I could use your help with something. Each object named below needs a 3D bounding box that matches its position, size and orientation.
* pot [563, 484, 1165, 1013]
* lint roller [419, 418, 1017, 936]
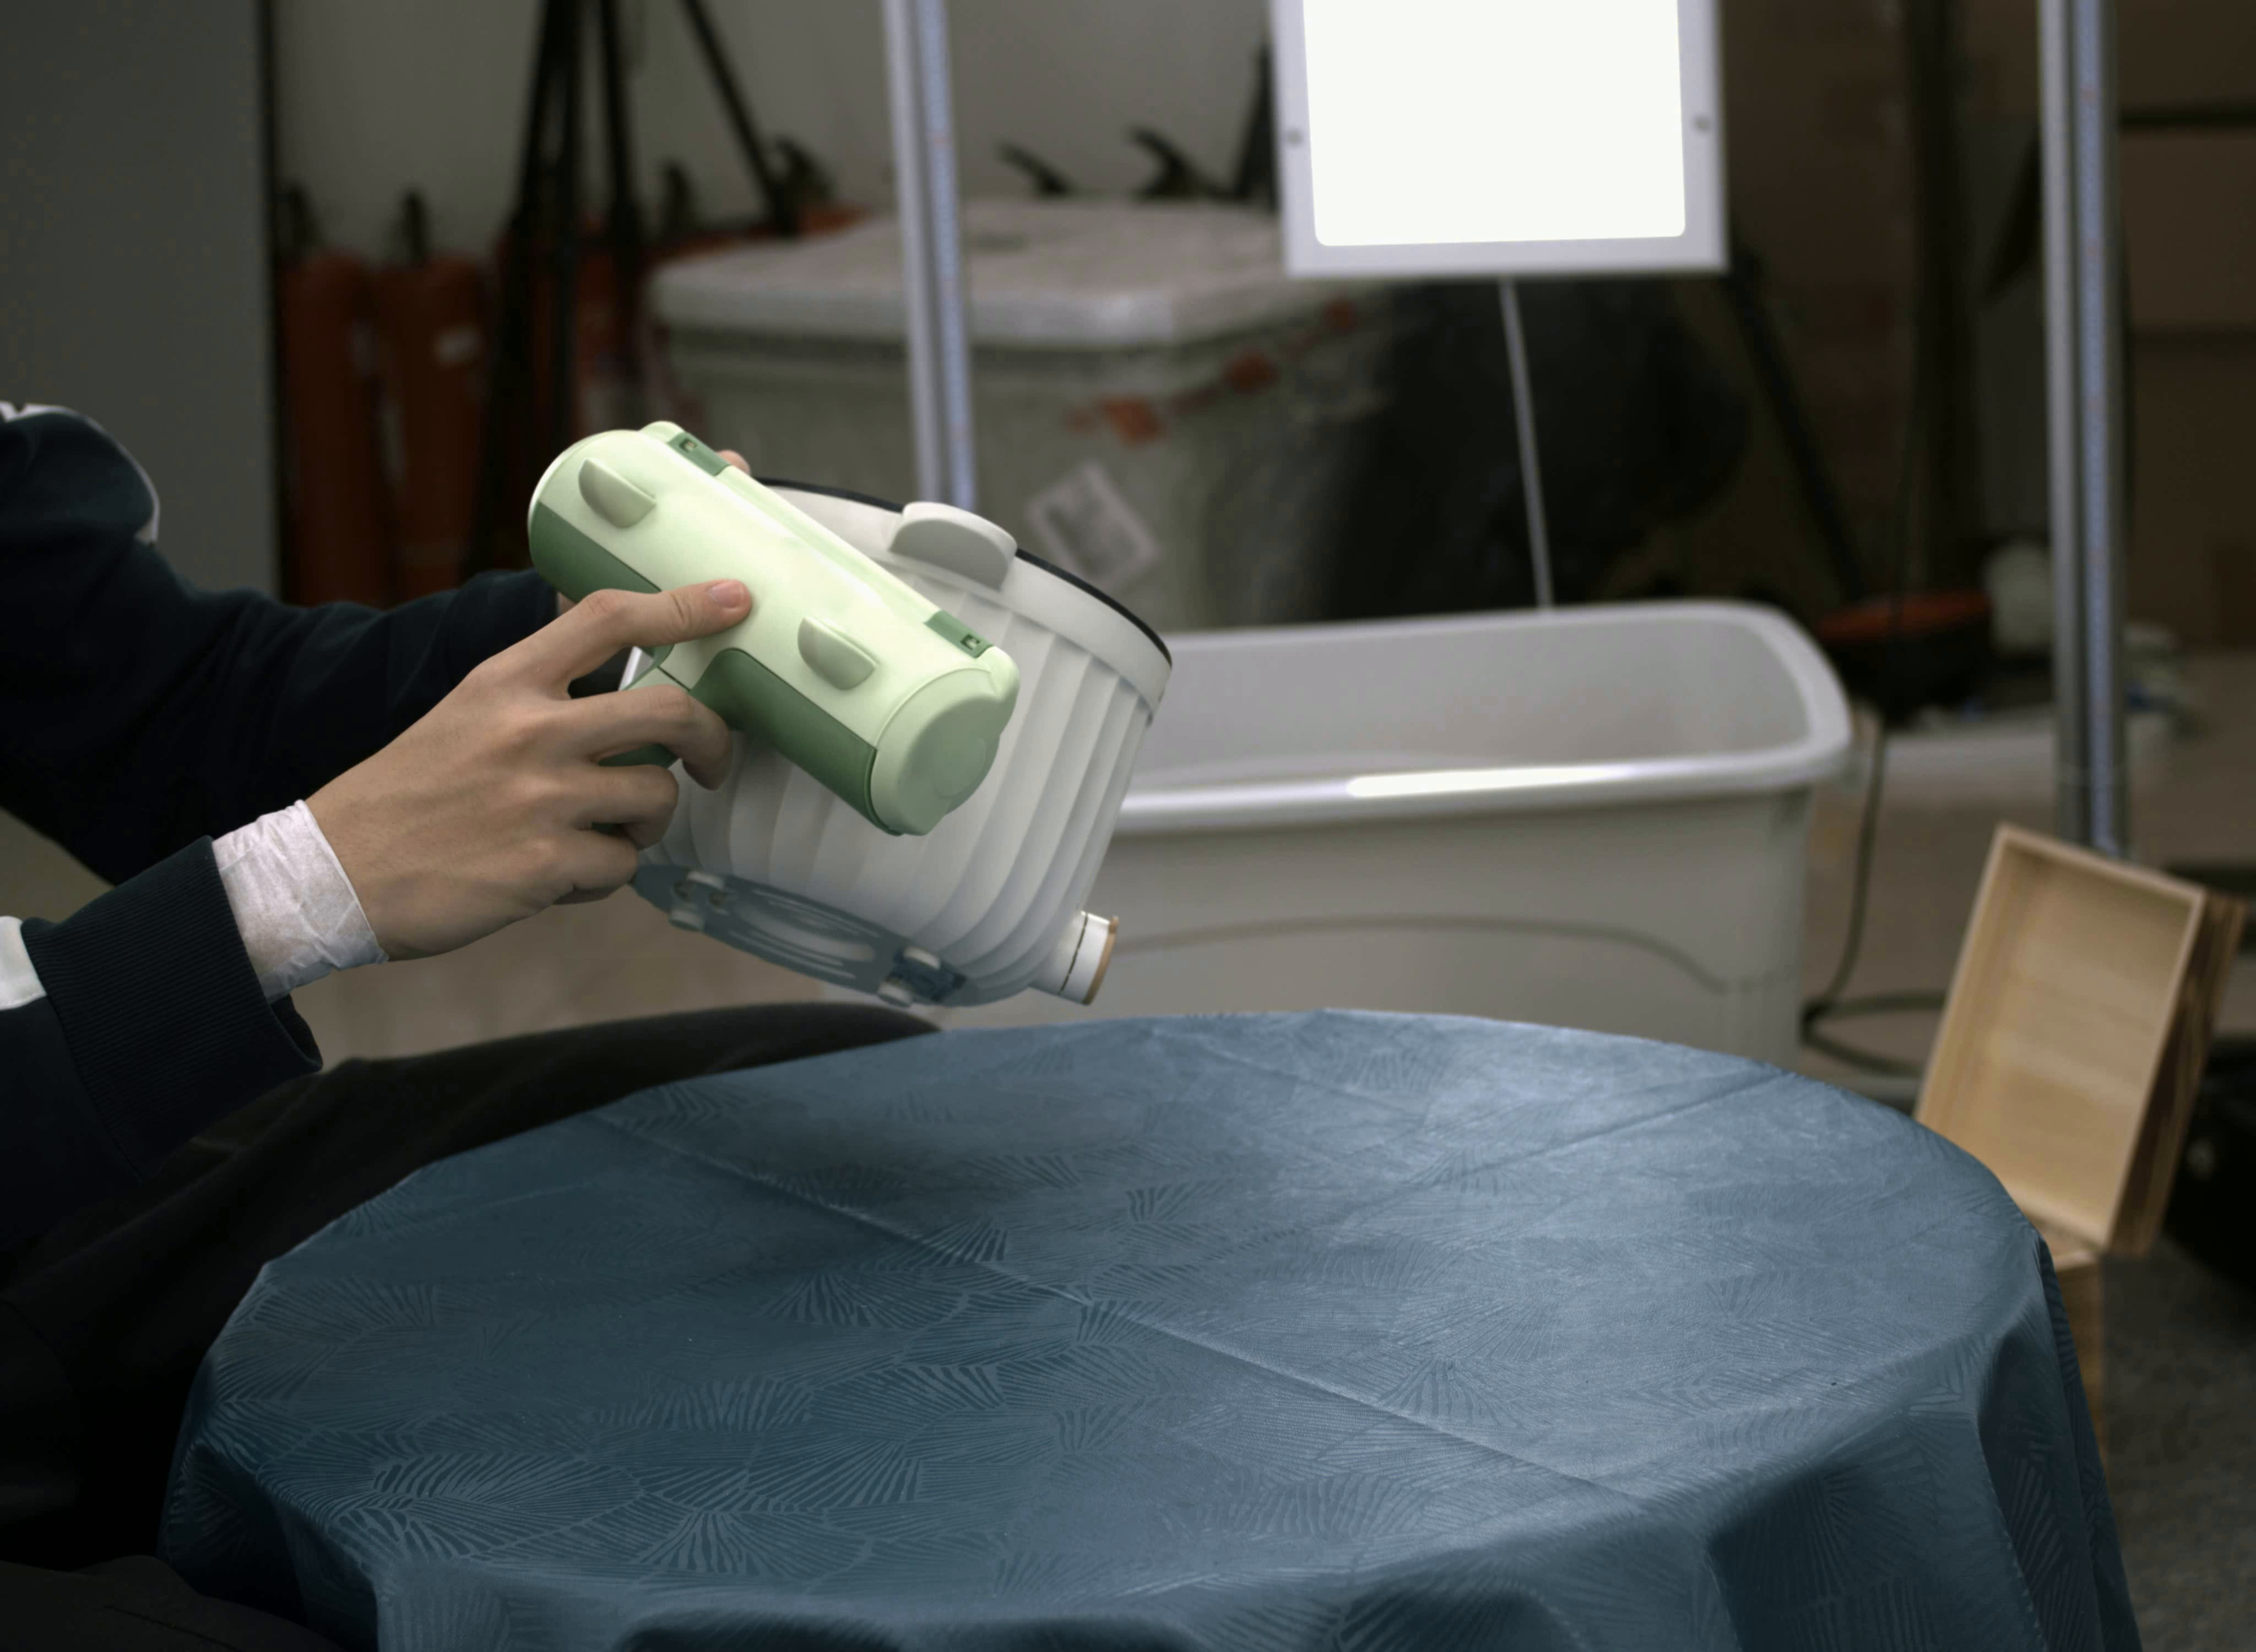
[{"bbox_3d":[-0.087,-0.018,1.906,0.189,0.142,0.242,17,-12,-5],"label":"pot"},{"bbox_3d":[-0.162,-0.041,1.776,0.180,0.082,0.201,-38,50,-20],"label":"lint roller"}]
